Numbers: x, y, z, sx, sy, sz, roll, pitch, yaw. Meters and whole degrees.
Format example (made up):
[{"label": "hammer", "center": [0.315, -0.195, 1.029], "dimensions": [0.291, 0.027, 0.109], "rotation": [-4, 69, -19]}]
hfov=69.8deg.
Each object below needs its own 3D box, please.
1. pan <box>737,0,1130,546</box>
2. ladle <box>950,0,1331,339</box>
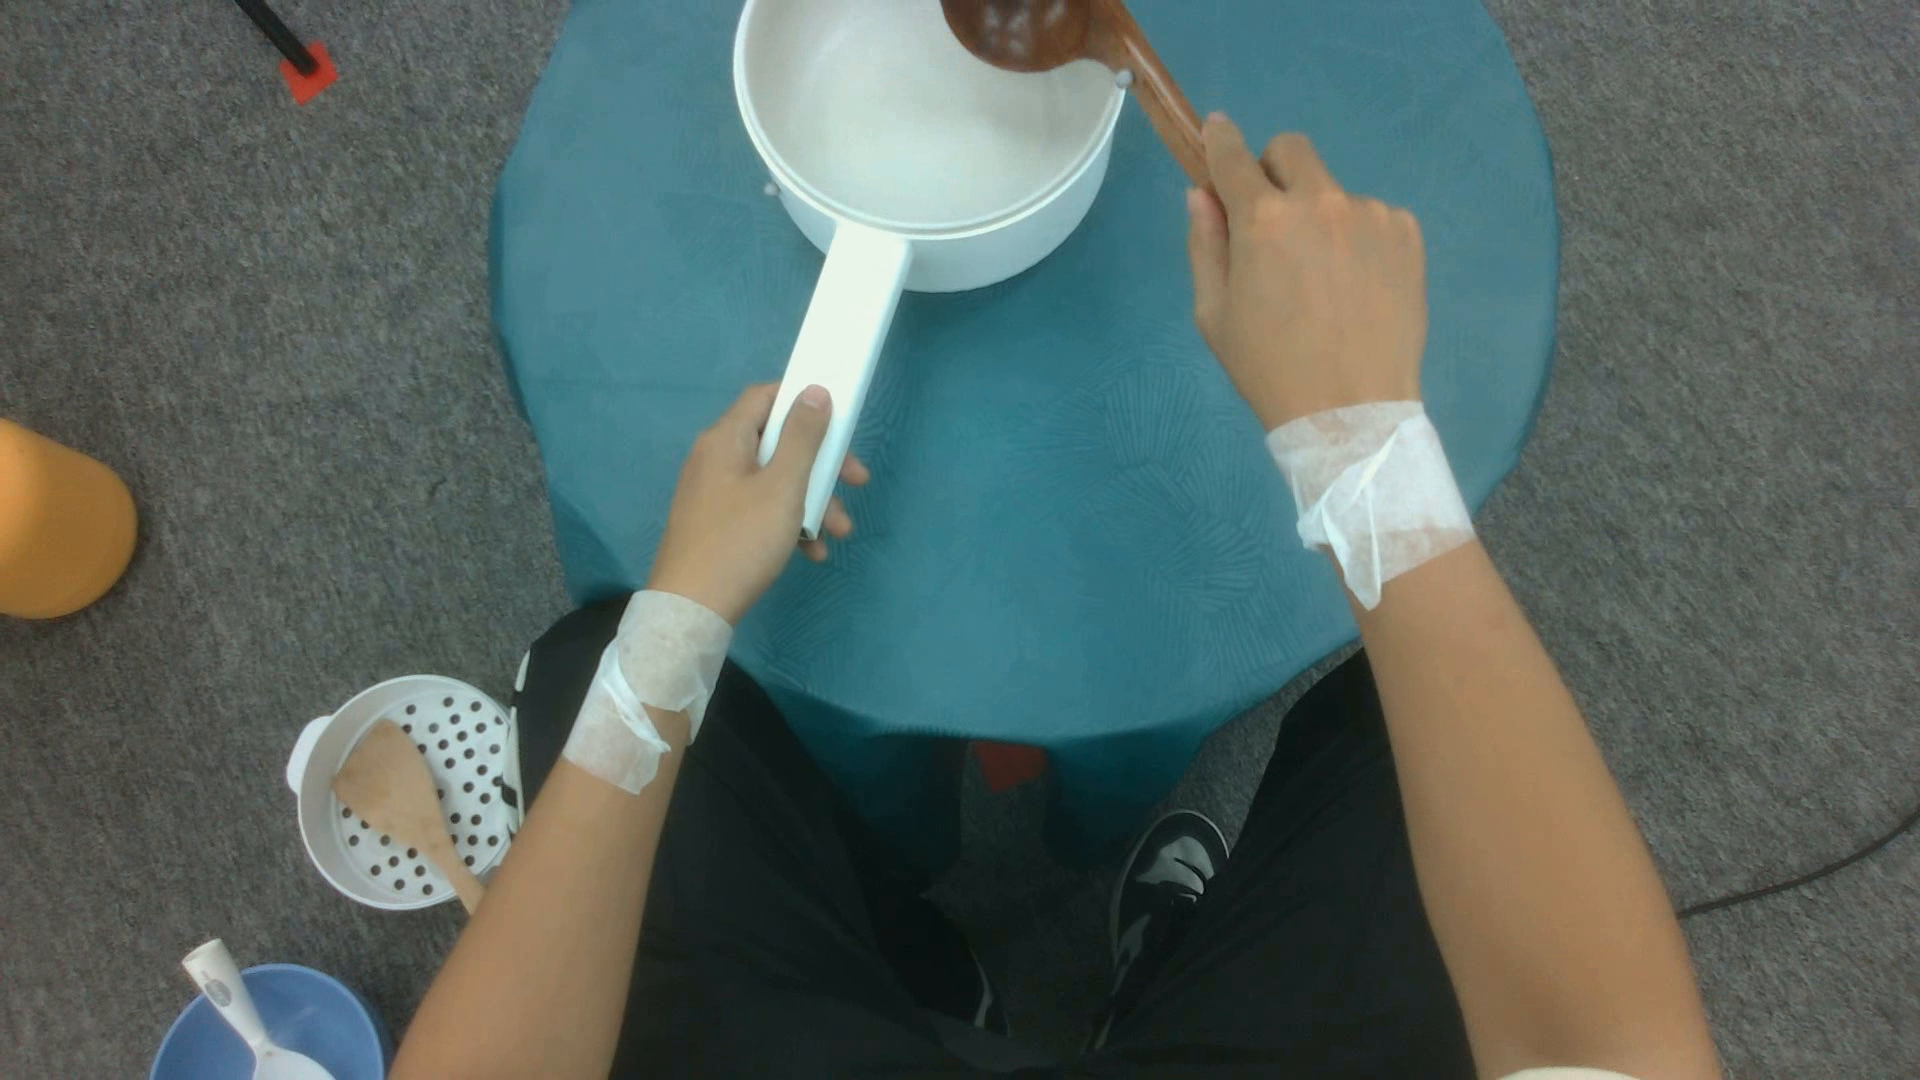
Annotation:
[{"label": "pan", "center": [-0.032, -0.160, 0.745], "dimensions": [0.201, 0.102, 0.355], "rotation": [17, 77, 6]}, {"label": "ladle", "center": [0.072, -0.187, 0.636], "dimensions": [0.077, 0.081, 0.275], "rotation": [-17, 56, -11]}]
